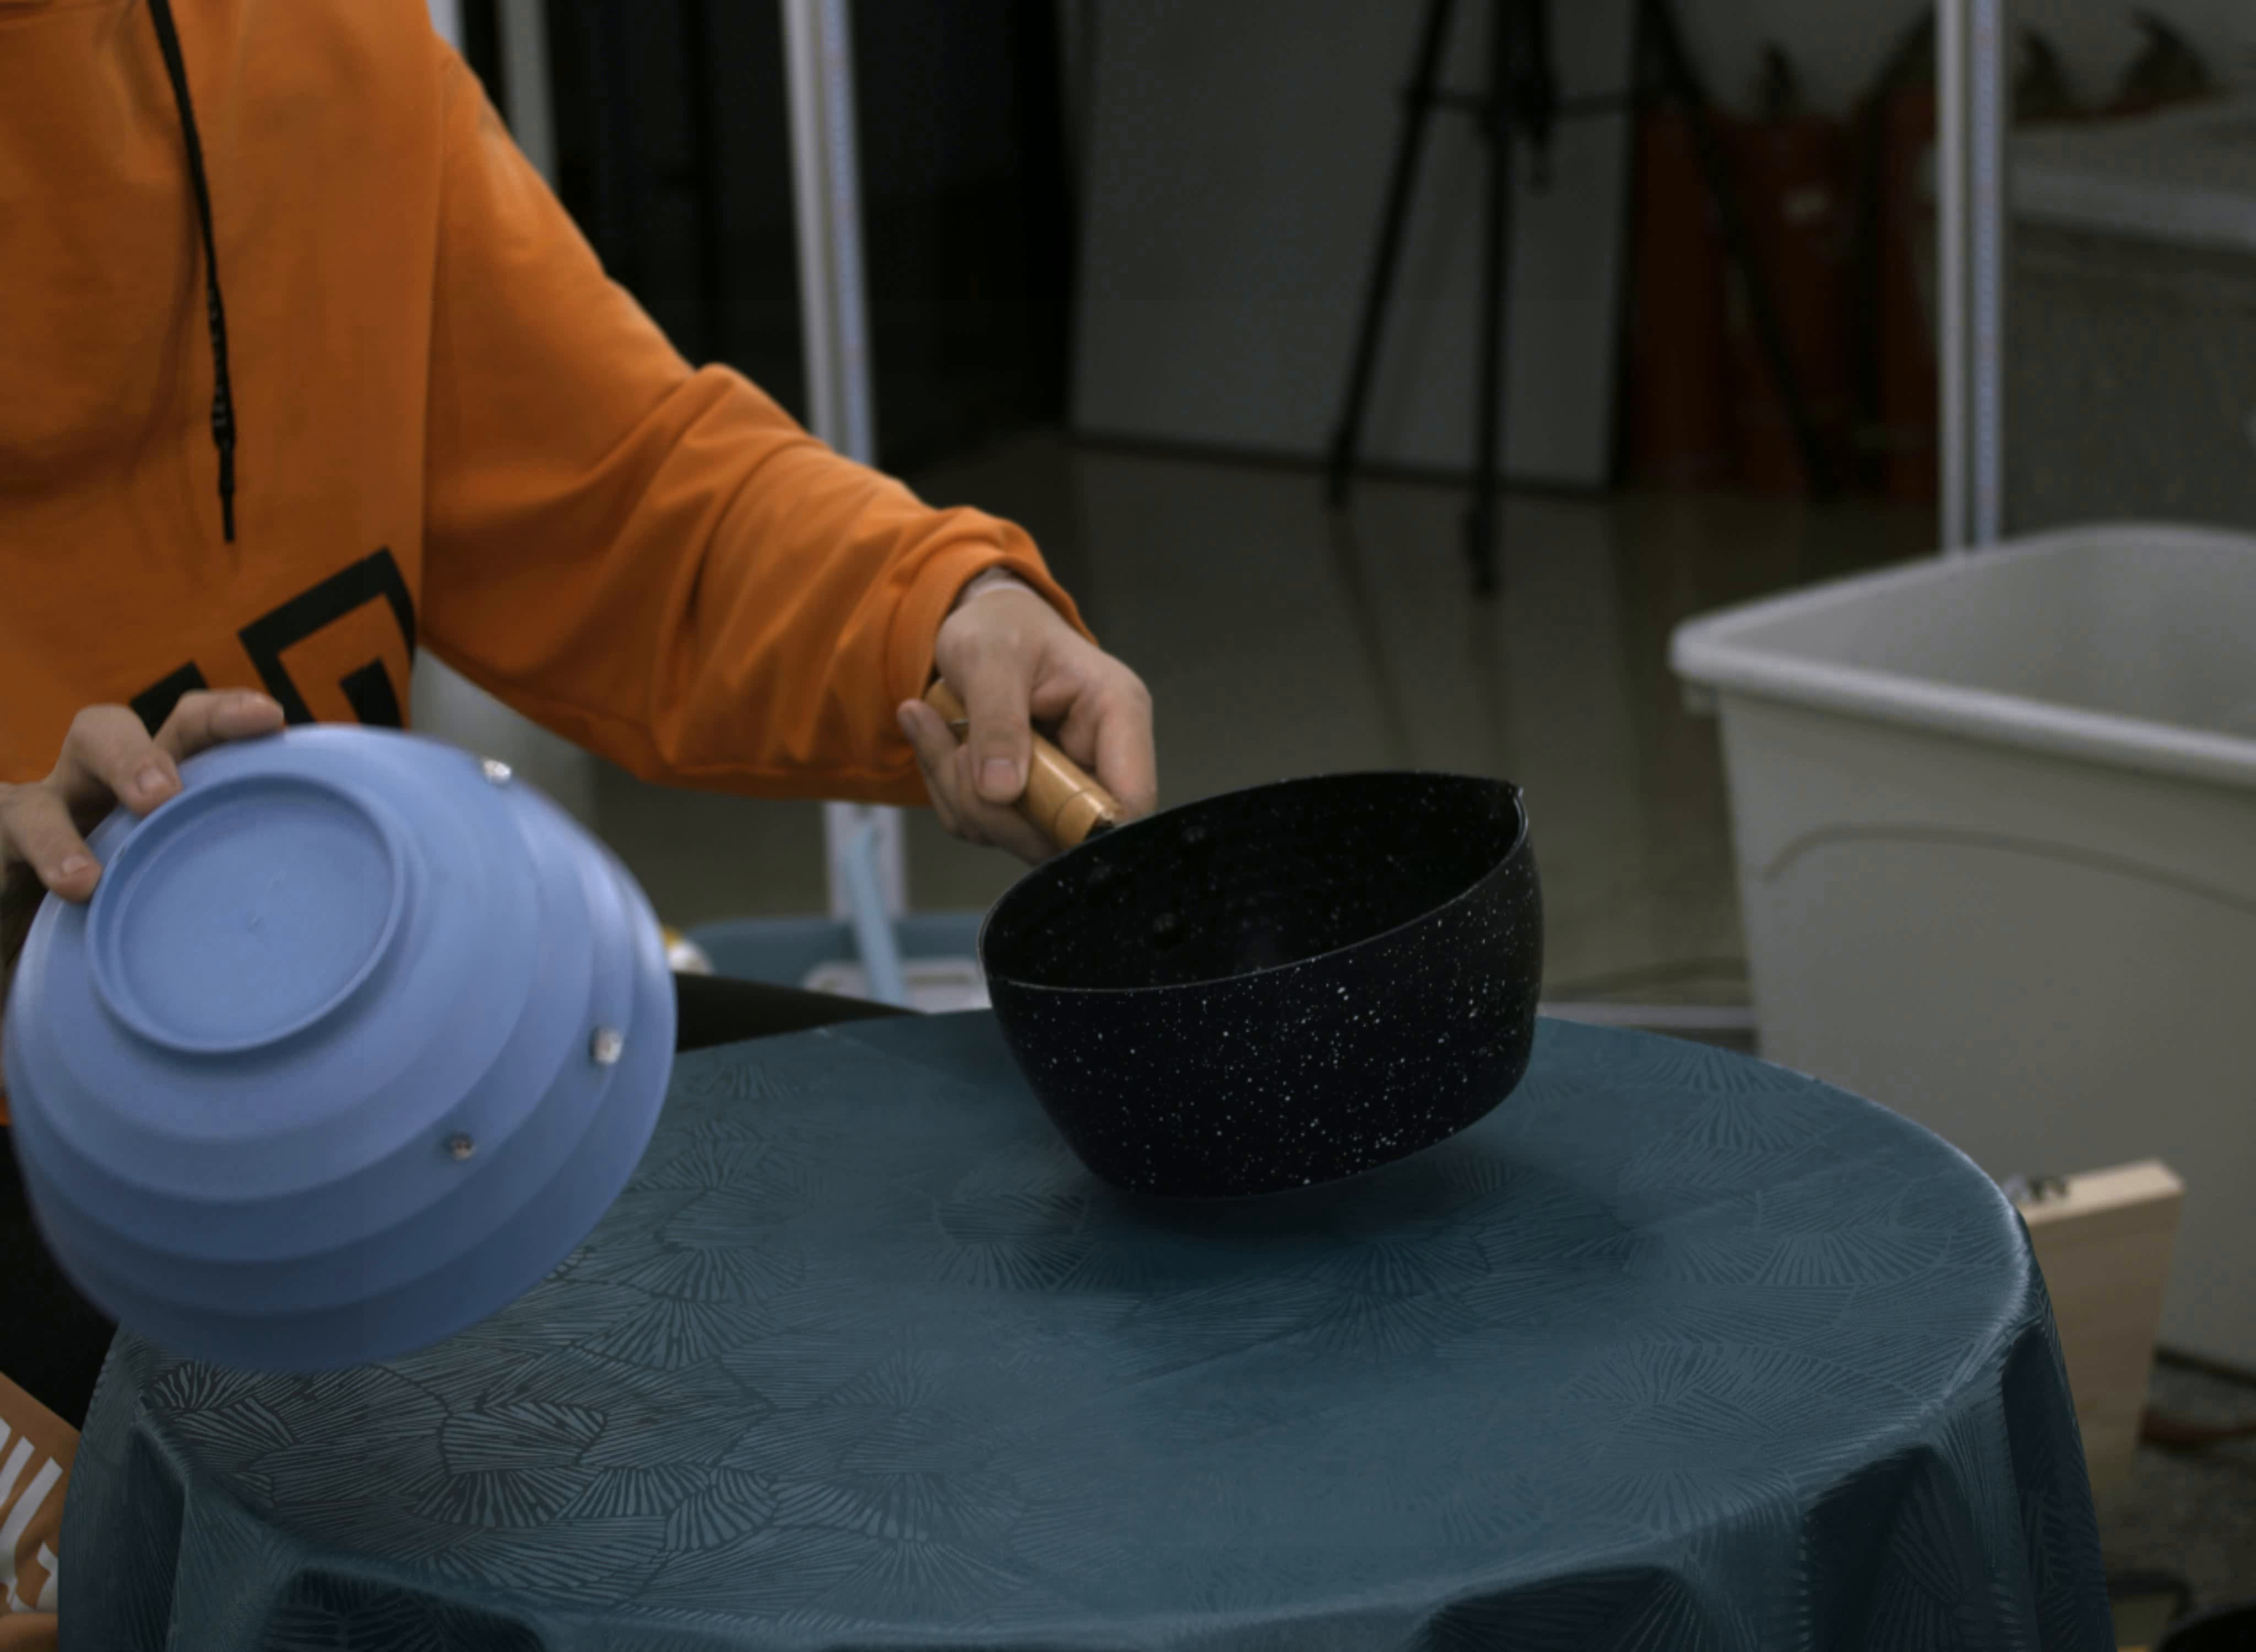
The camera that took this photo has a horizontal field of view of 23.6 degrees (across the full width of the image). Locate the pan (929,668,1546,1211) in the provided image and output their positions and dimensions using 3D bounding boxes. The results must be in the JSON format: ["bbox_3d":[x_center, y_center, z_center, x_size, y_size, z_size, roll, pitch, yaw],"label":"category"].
[{"bbox_3d":[0.014,0.029,1.824,0.204,0.109,0.346,-22,20,-19],"label":"pan"}]

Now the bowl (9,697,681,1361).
[{"bbox_3d":[-0.231,0.040,1.513,0.196,0.198,0.095,0,-30,16],"label":"bowl"}]
